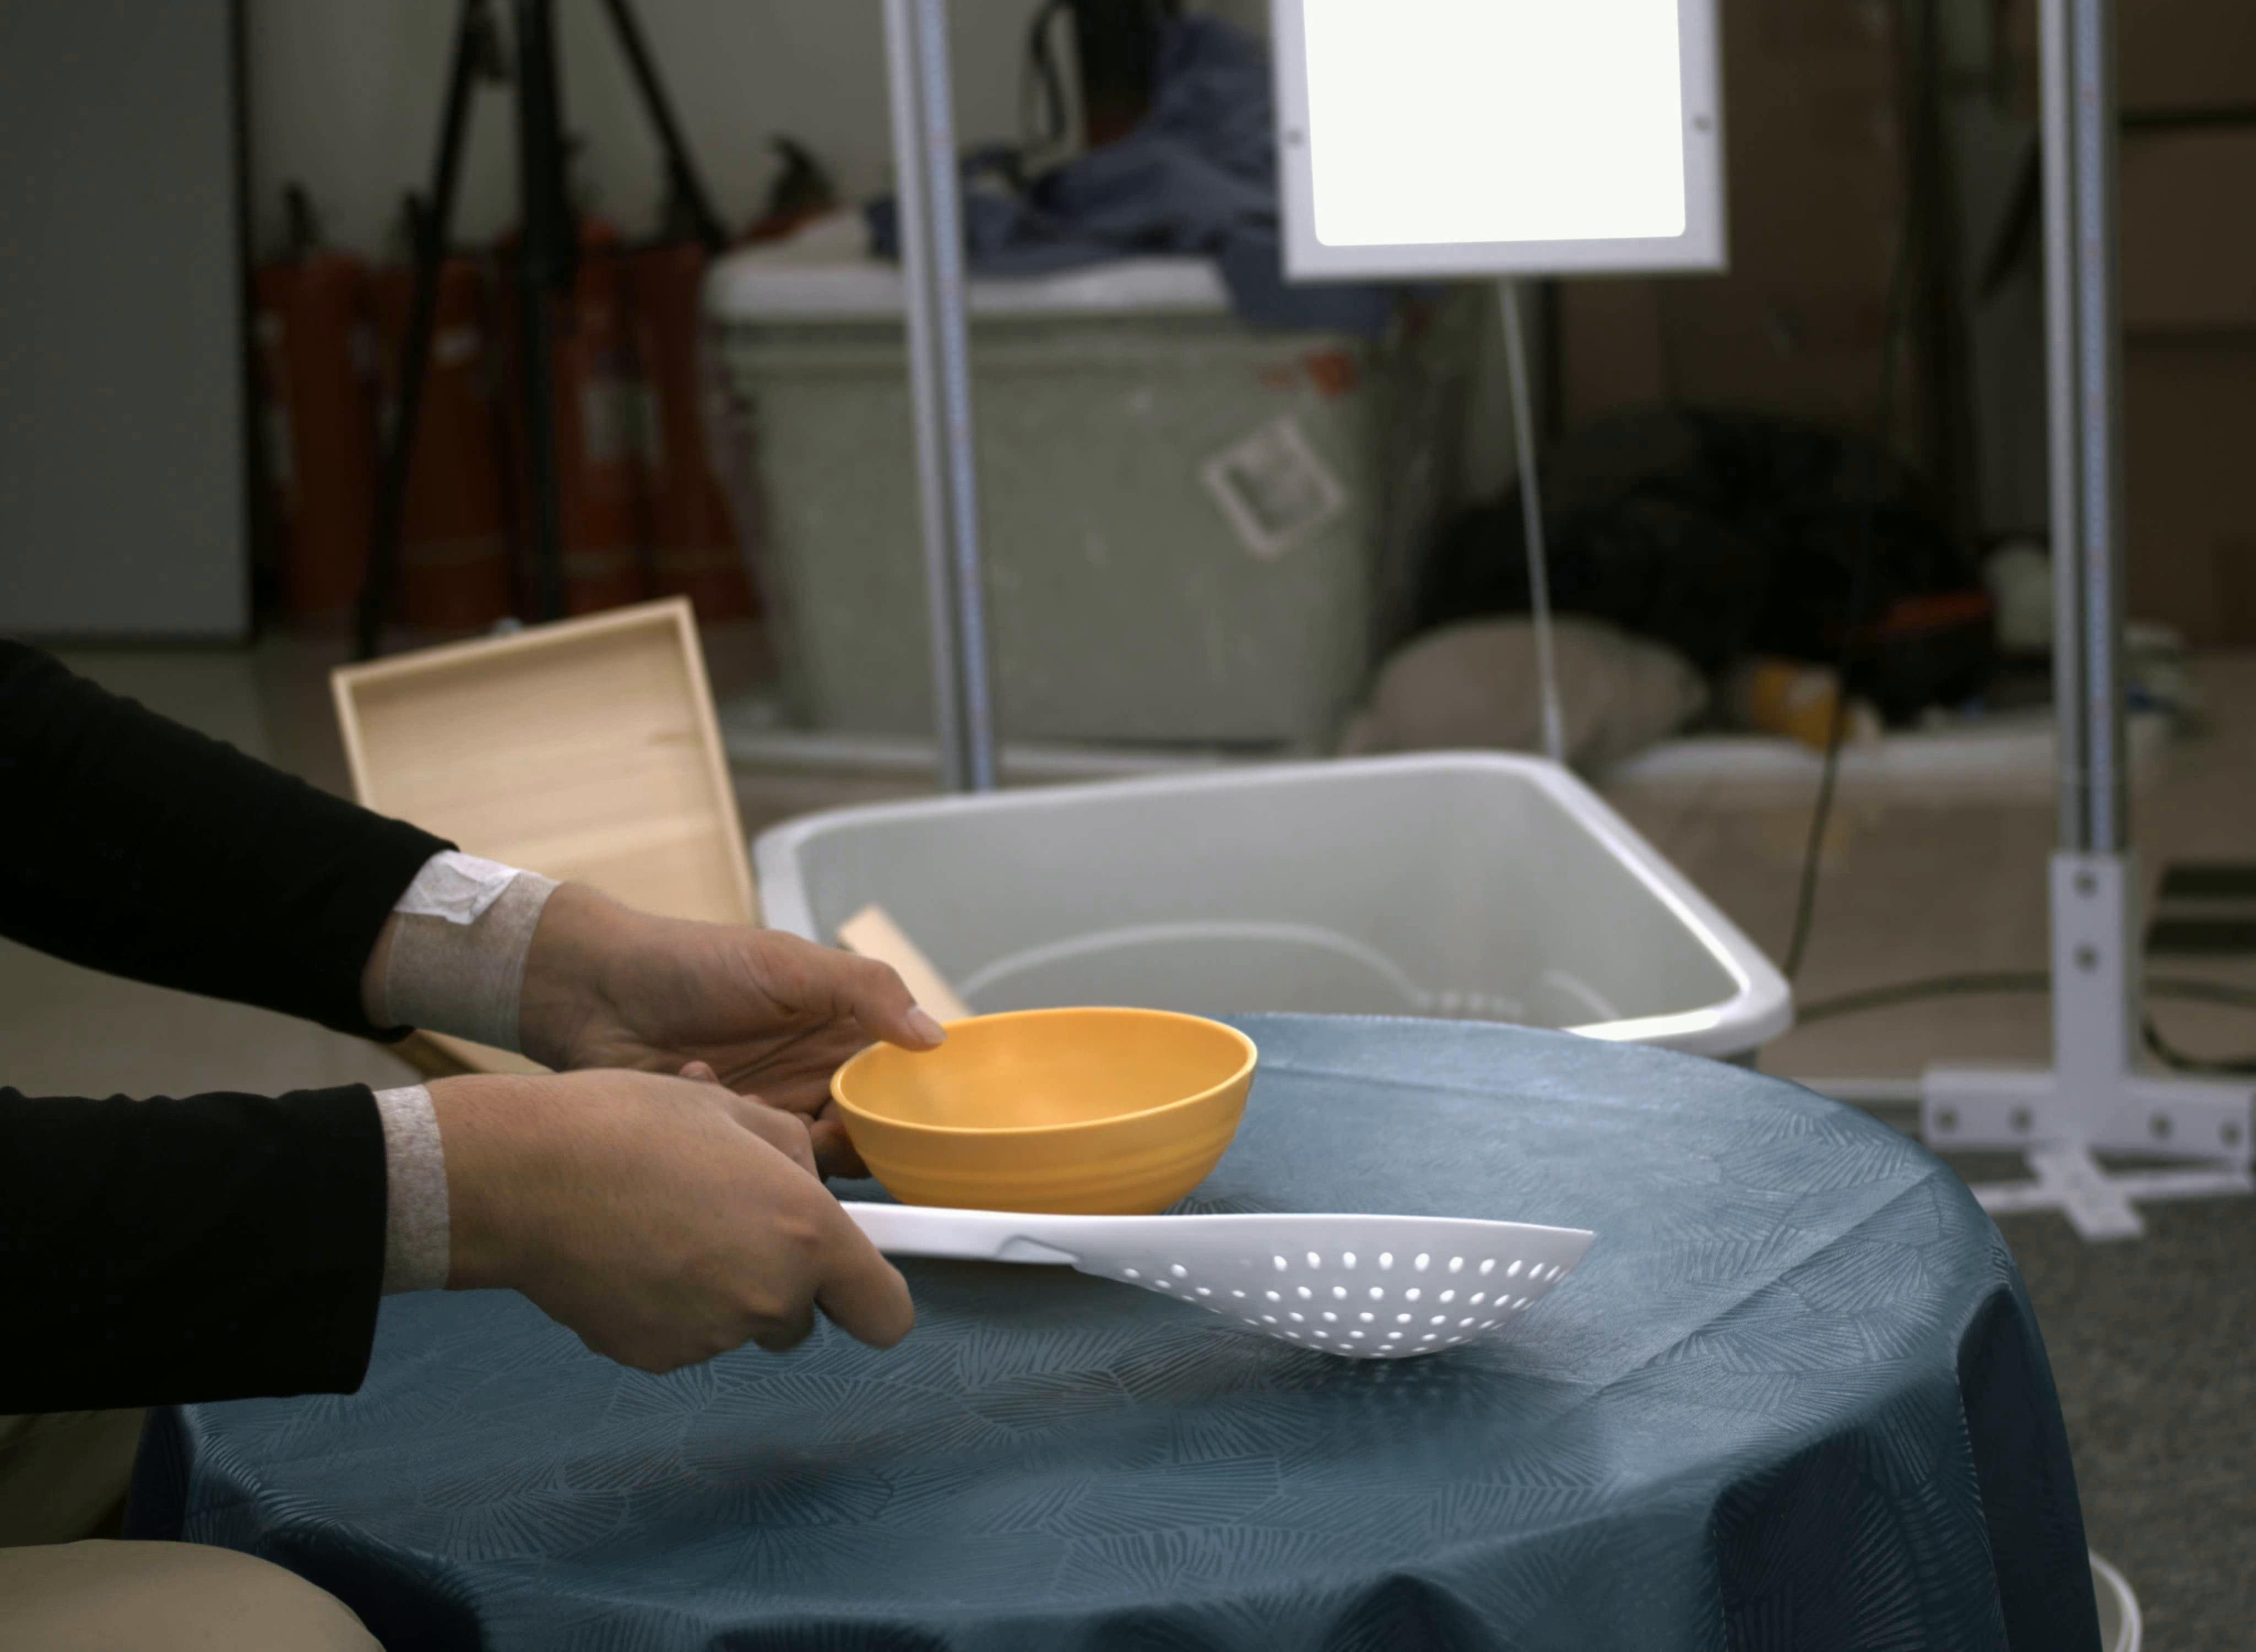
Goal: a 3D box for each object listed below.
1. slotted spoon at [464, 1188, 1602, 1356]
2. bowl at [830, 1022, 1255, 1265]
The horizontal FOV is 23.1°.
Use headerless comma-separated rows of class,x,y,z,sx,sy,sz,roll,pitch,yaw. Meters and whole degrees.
slotted spoon,-0.027,0.126,1.680,0.346,0.046,0.137,8,-8,-8
bowl,-0.027,0.110,1.856,0.145,0.060,0.145,-4,12,0
